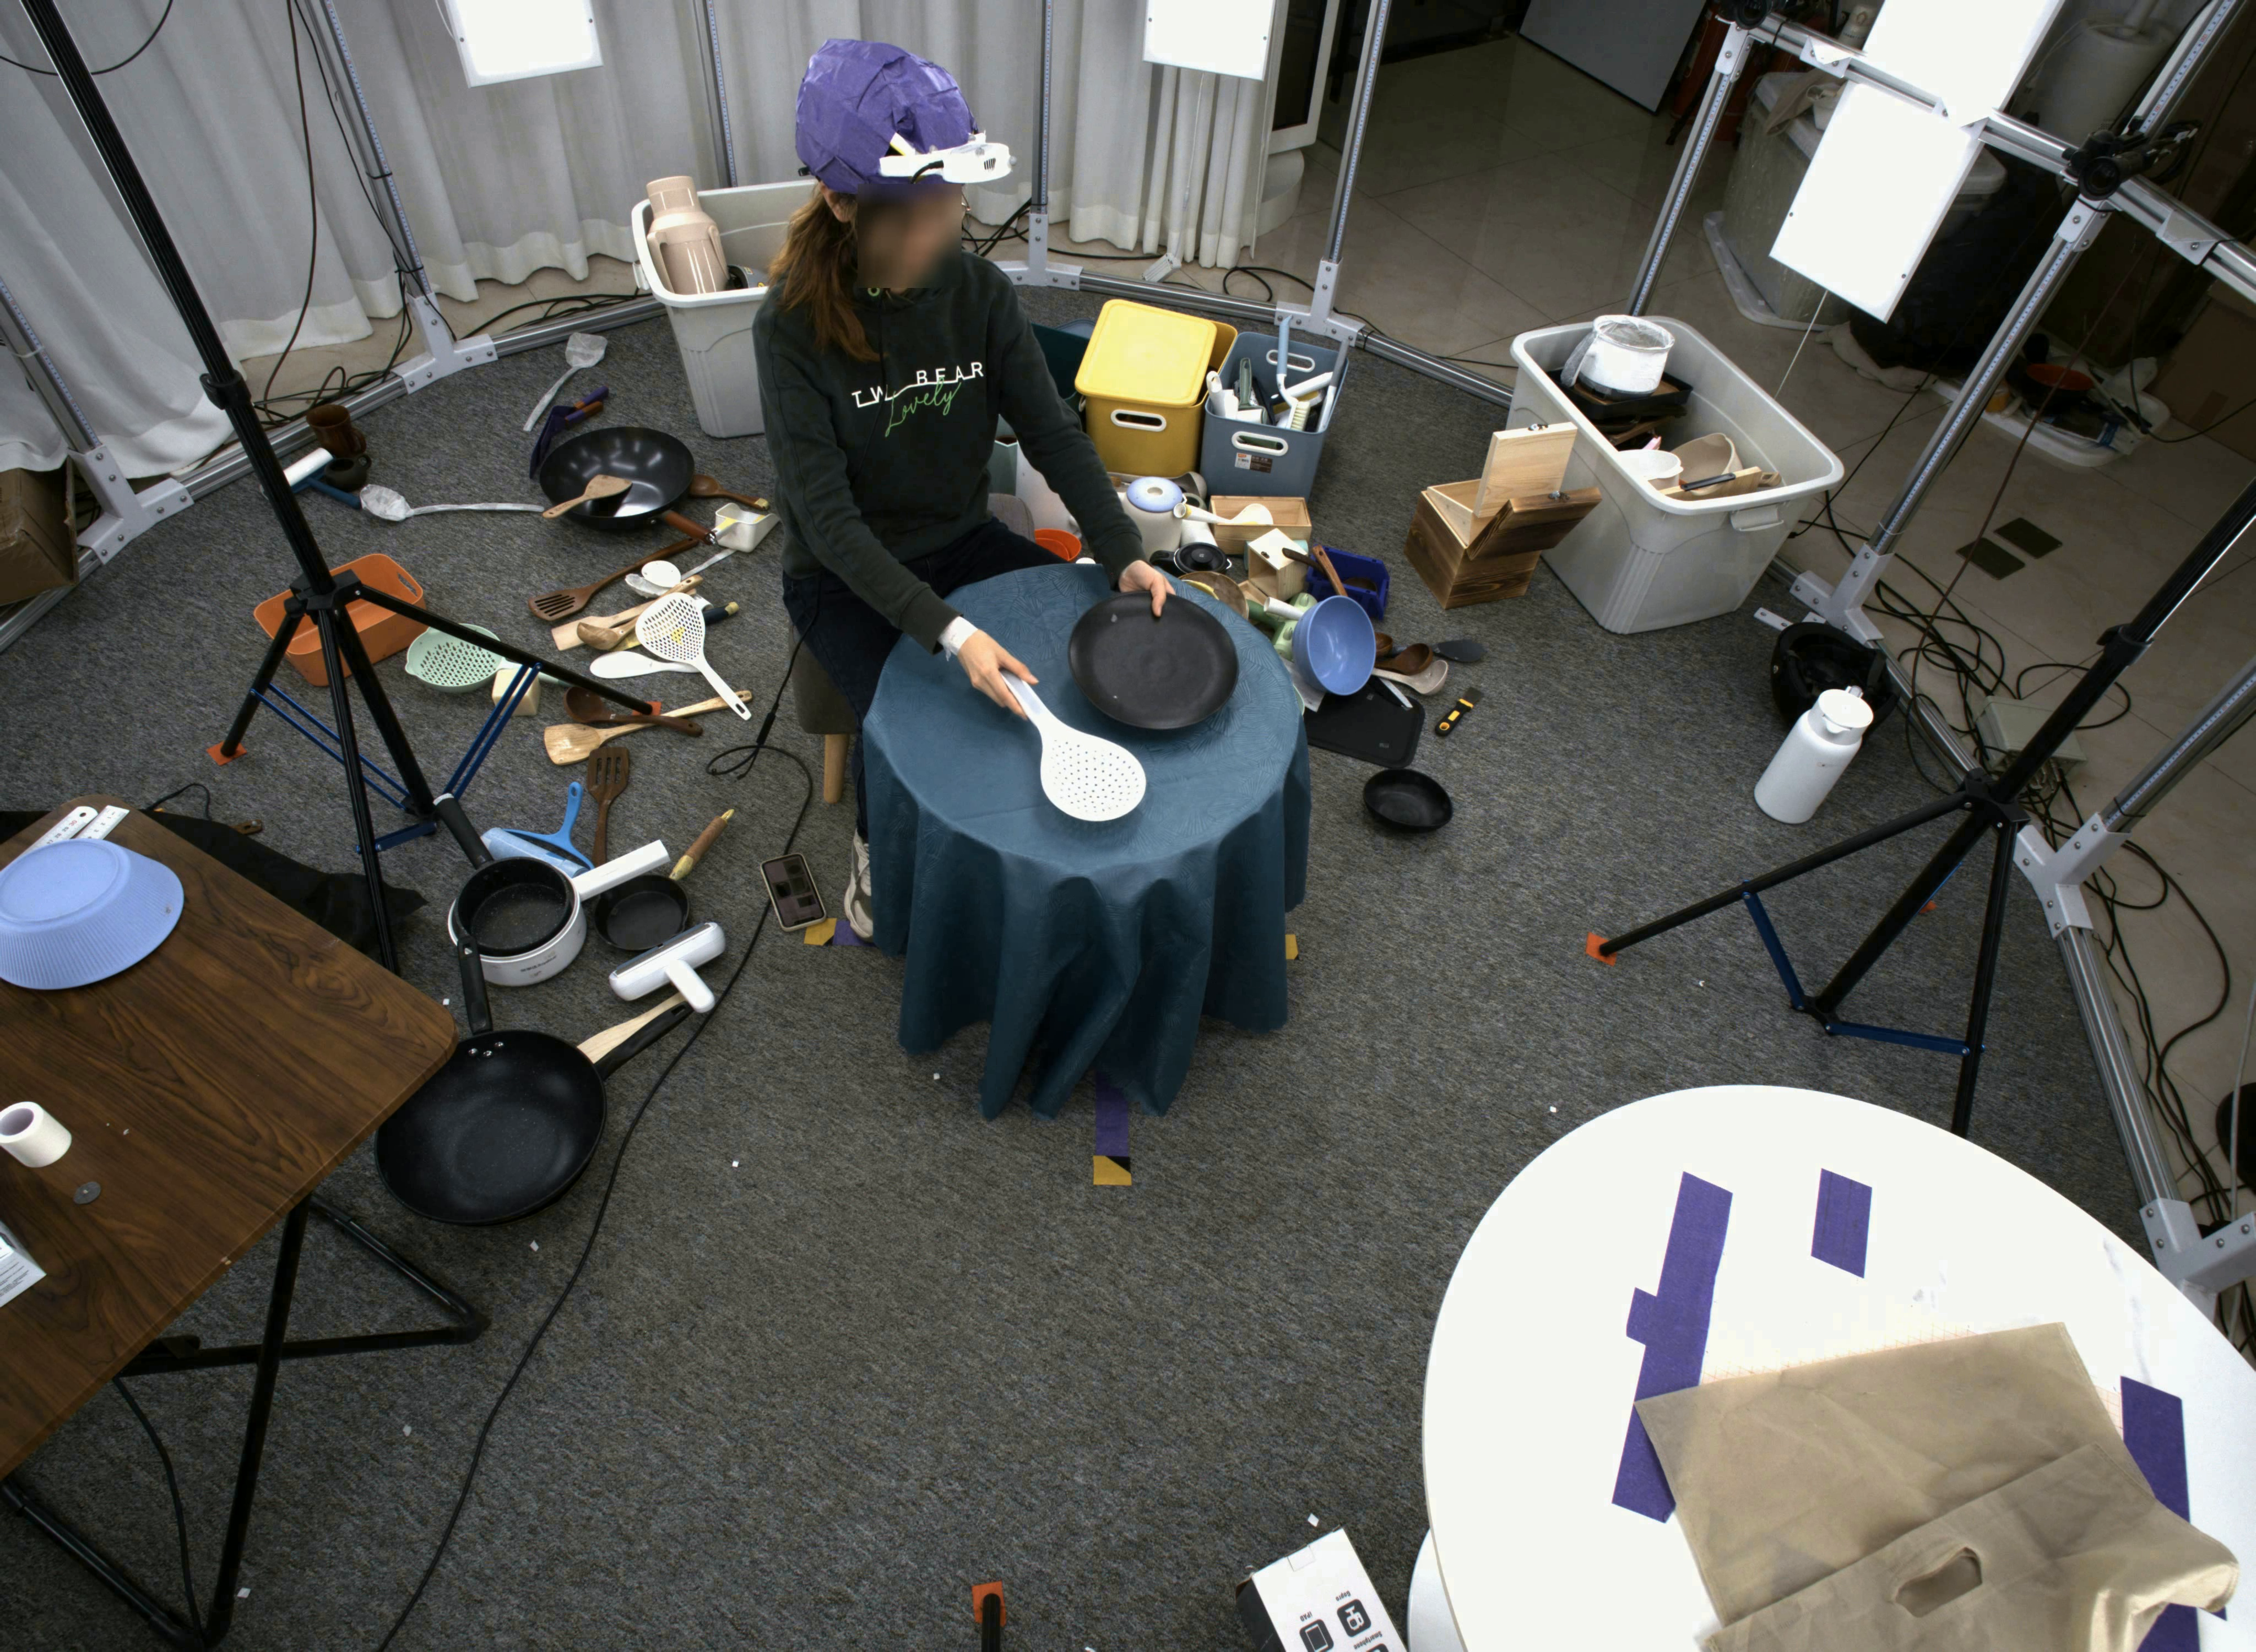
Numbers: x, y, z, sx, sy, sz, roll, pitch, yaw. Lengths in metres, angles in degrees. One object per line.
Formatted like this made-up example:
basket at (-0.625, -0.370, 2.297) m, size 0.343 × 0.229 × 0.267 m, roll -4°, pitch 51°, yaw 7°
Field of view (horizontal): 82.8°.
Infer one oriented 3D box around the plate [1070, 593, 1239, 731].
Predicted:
plate at (0.037, -0.232, 1.830) m, size 0.244 × 0.023 × 0.250 m, roll 4°, pitch 58°, yaw -6°

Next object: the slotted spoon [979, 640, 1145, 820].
slotted spoon at (-0.105, -0.134, 1.737) m, size 0.136 × 0.045 × 0.356 m, roll -24°, pitch 63°, yaw -25°
